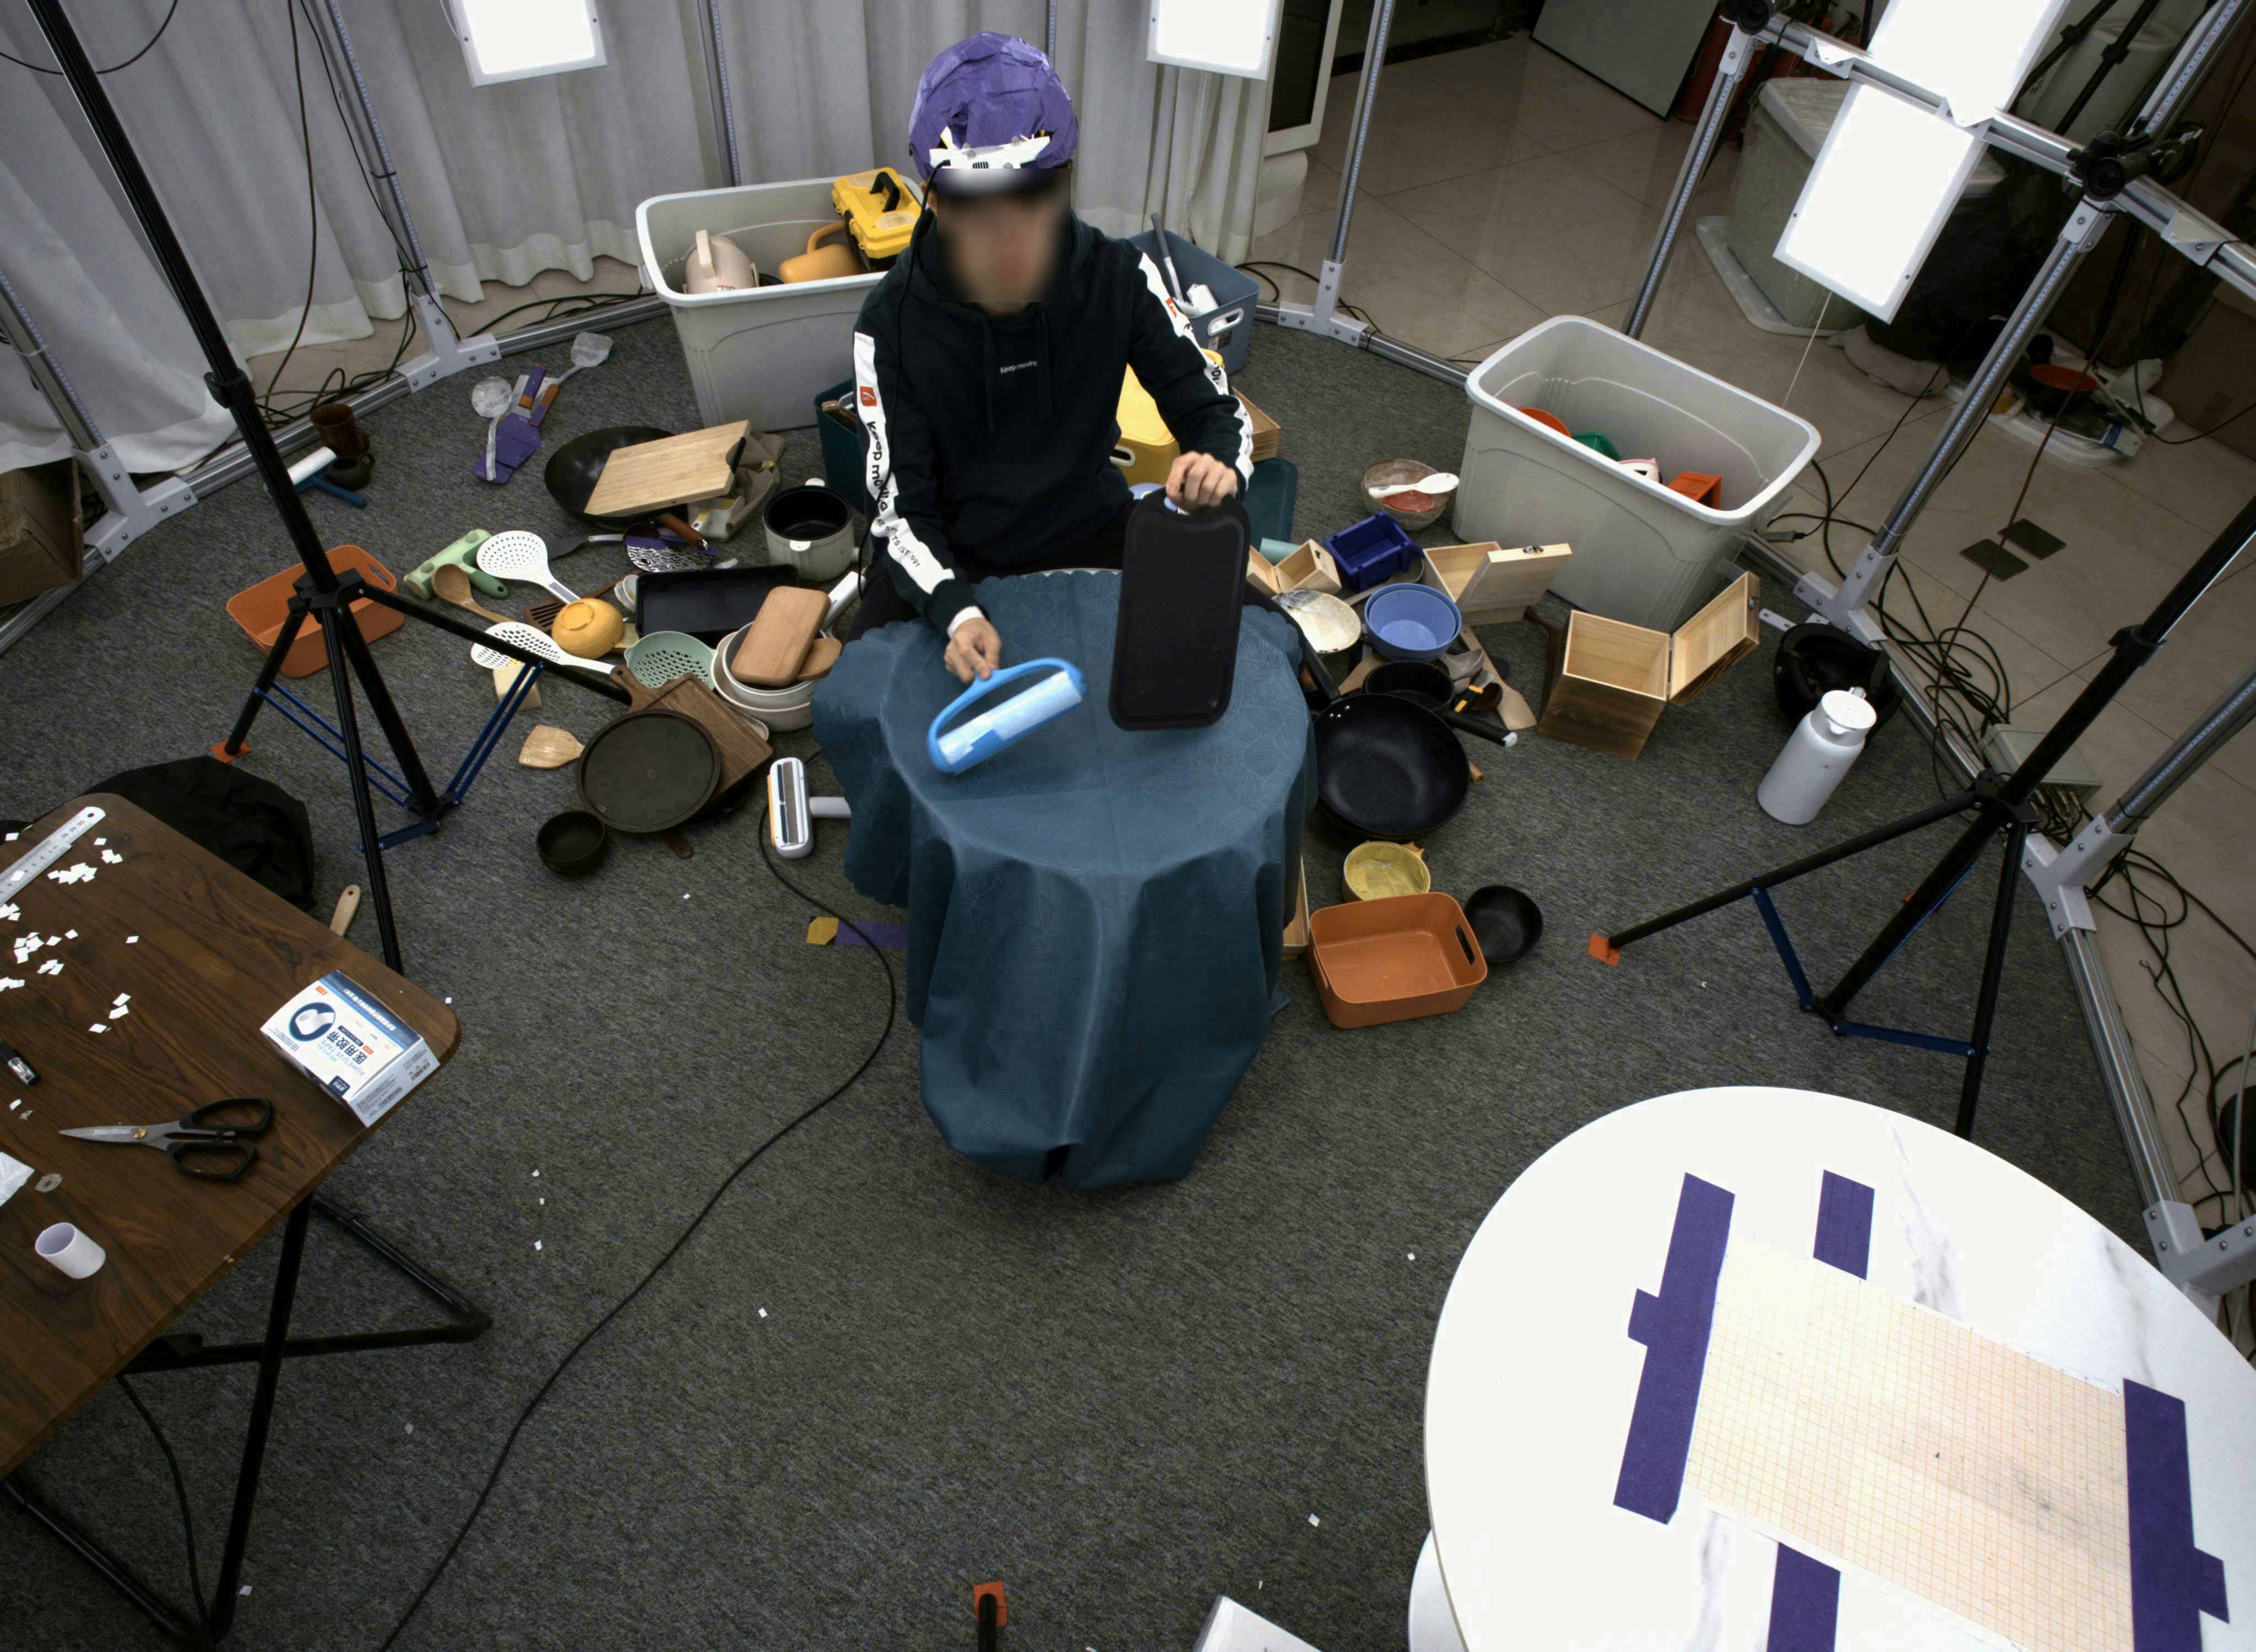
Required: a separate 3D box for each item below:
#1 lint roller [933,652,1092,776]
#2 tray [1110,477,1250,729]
[{"bbox_3d":[-0.178,-0.182,1.720,0.229,0.066,0.184,-34,57,-1],"label":"lint roller"},{"bbox_3d":[0.071,-0.287,1.675,0.210,0.321,0.010,-6,19,-38],"label":"tray"}]
